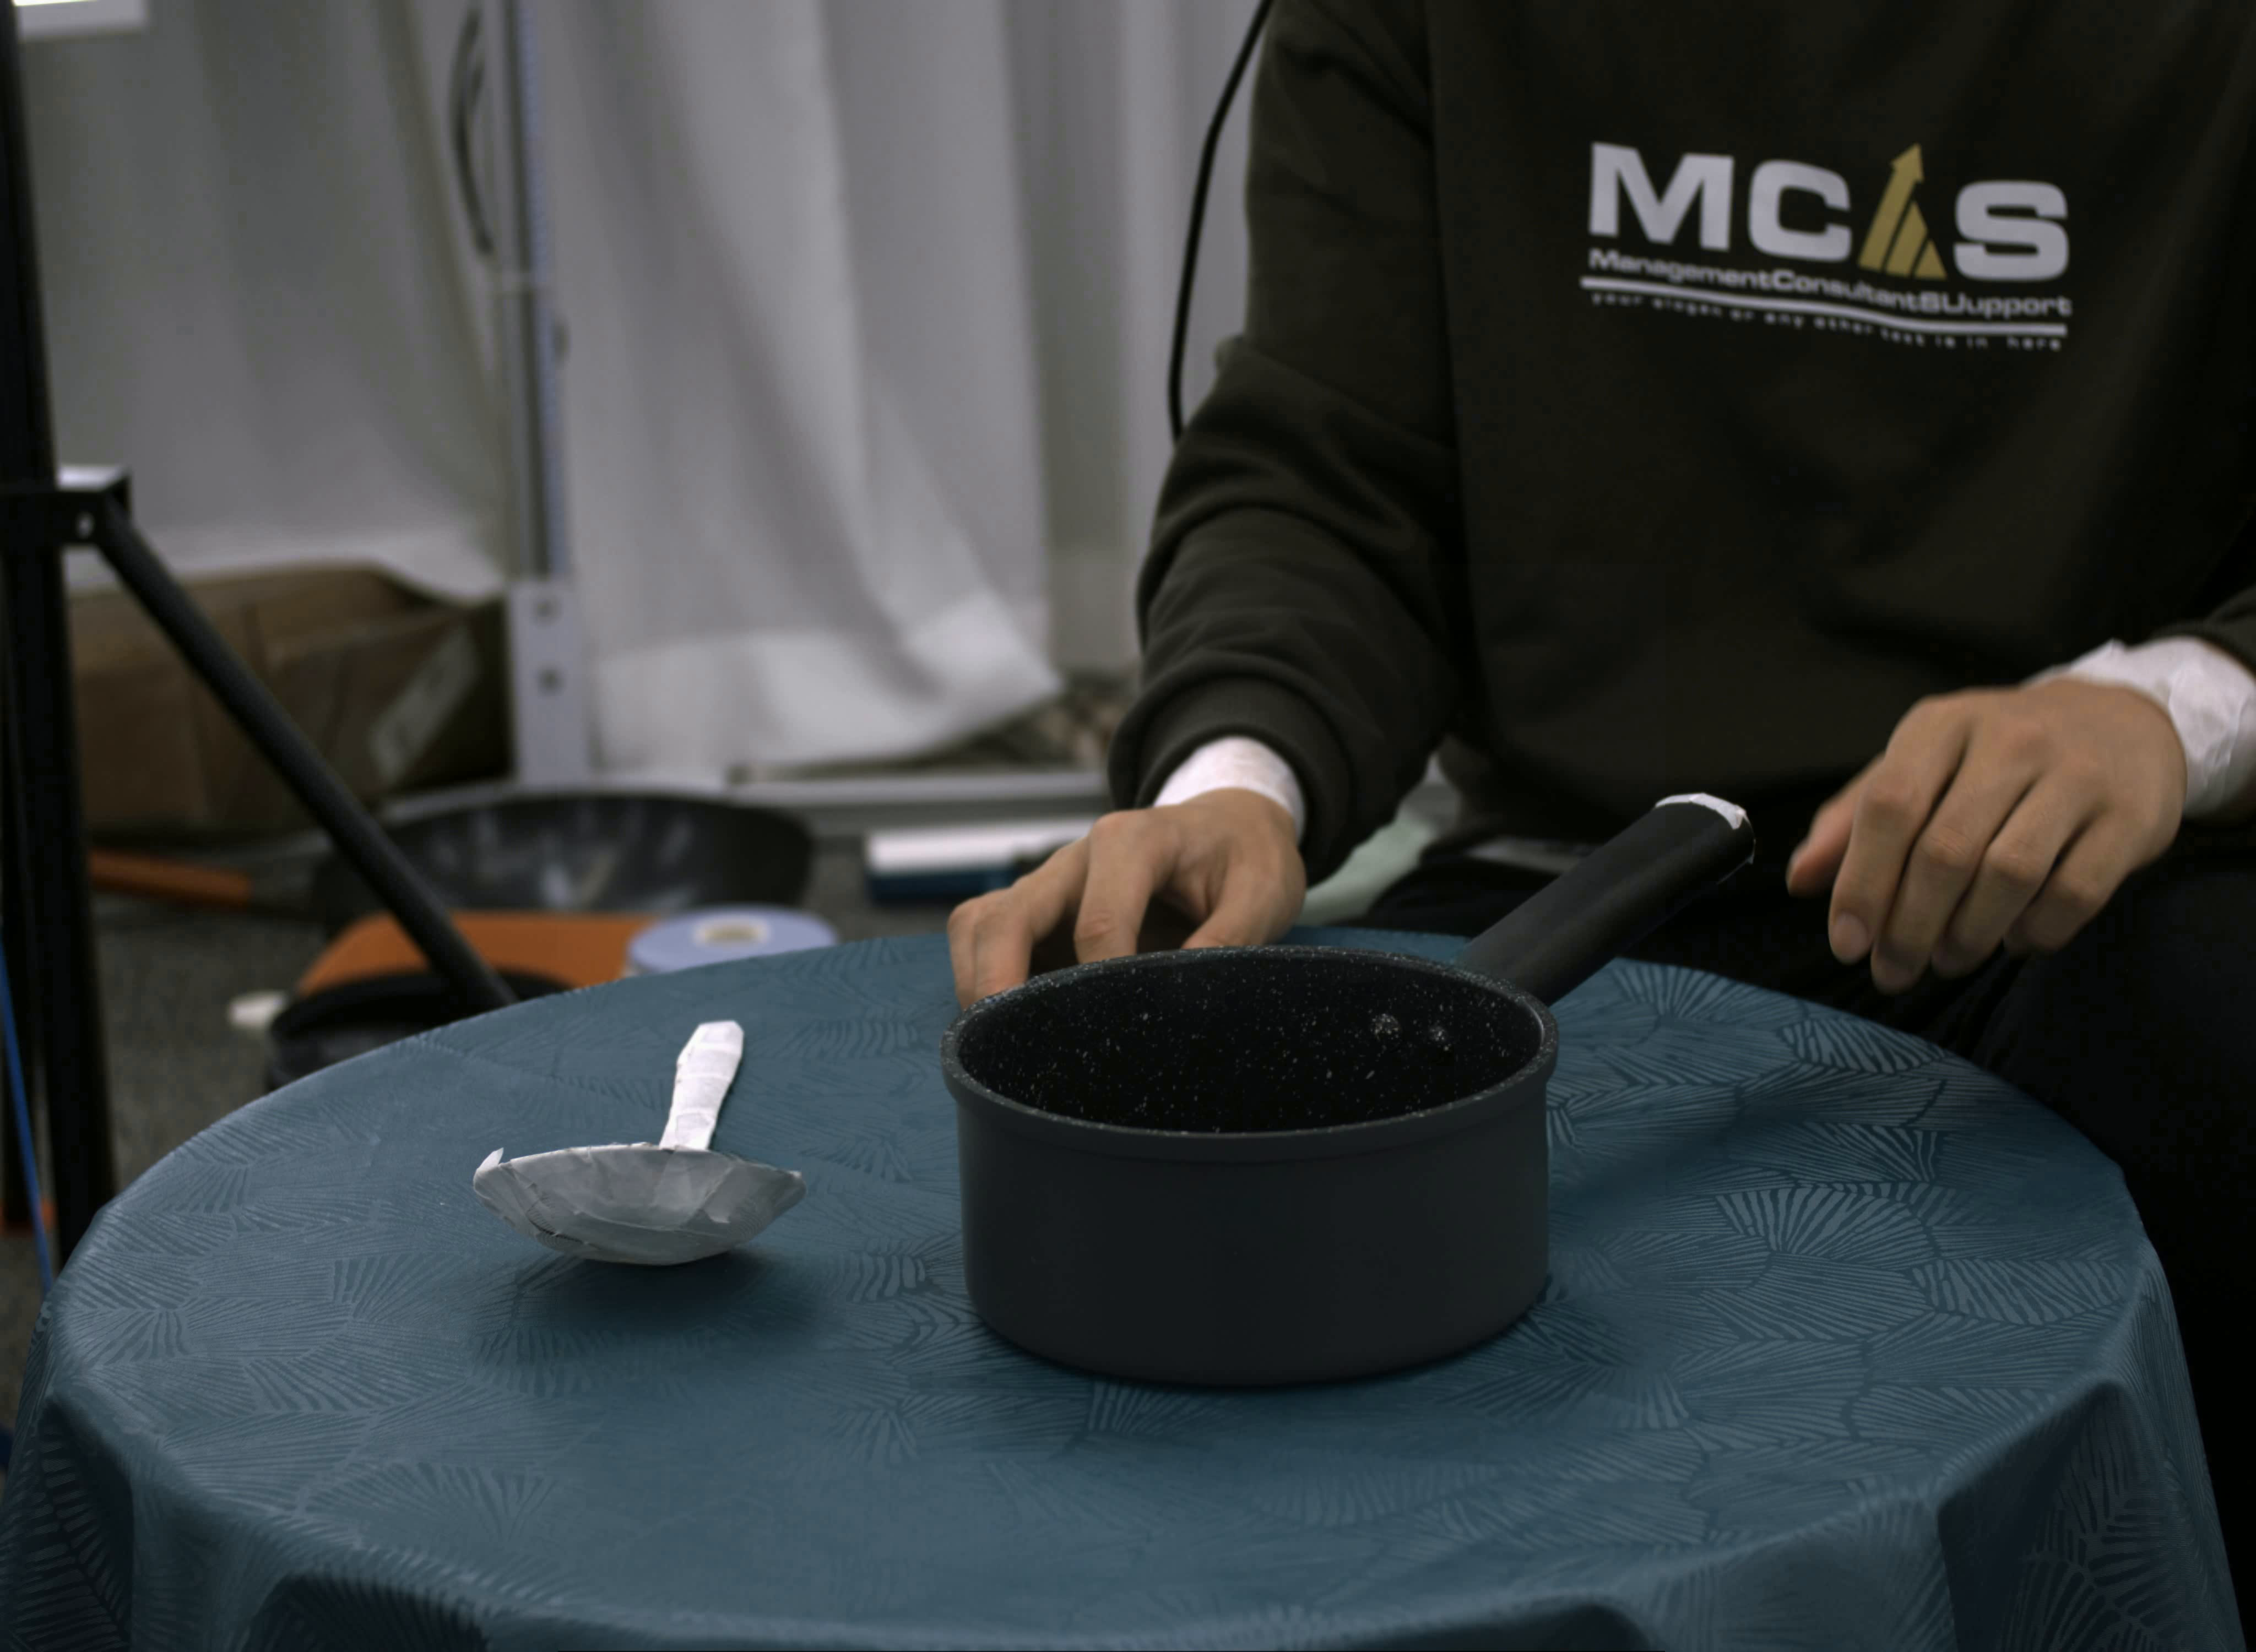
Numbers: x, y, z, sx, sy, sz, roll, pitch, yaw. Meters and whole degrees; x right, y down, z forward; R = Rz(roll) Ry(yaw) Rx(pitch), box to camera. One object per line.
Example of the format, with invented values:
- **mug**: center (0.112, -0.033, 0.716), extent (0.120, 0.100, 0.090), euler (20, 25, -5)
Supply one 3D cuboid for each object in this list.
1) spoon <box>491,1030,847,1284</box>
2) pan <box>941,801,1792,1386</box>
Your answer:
- **spoon**: center (-0.124, 0.082, 1.596), extent (0.100, 0.059, 0.277), euler (9, 16, 1)
- **pan**: center (0.085, 0.072, 1.522), extent (0.176, 0.086, 0.321), euler (12, 22, 40)
